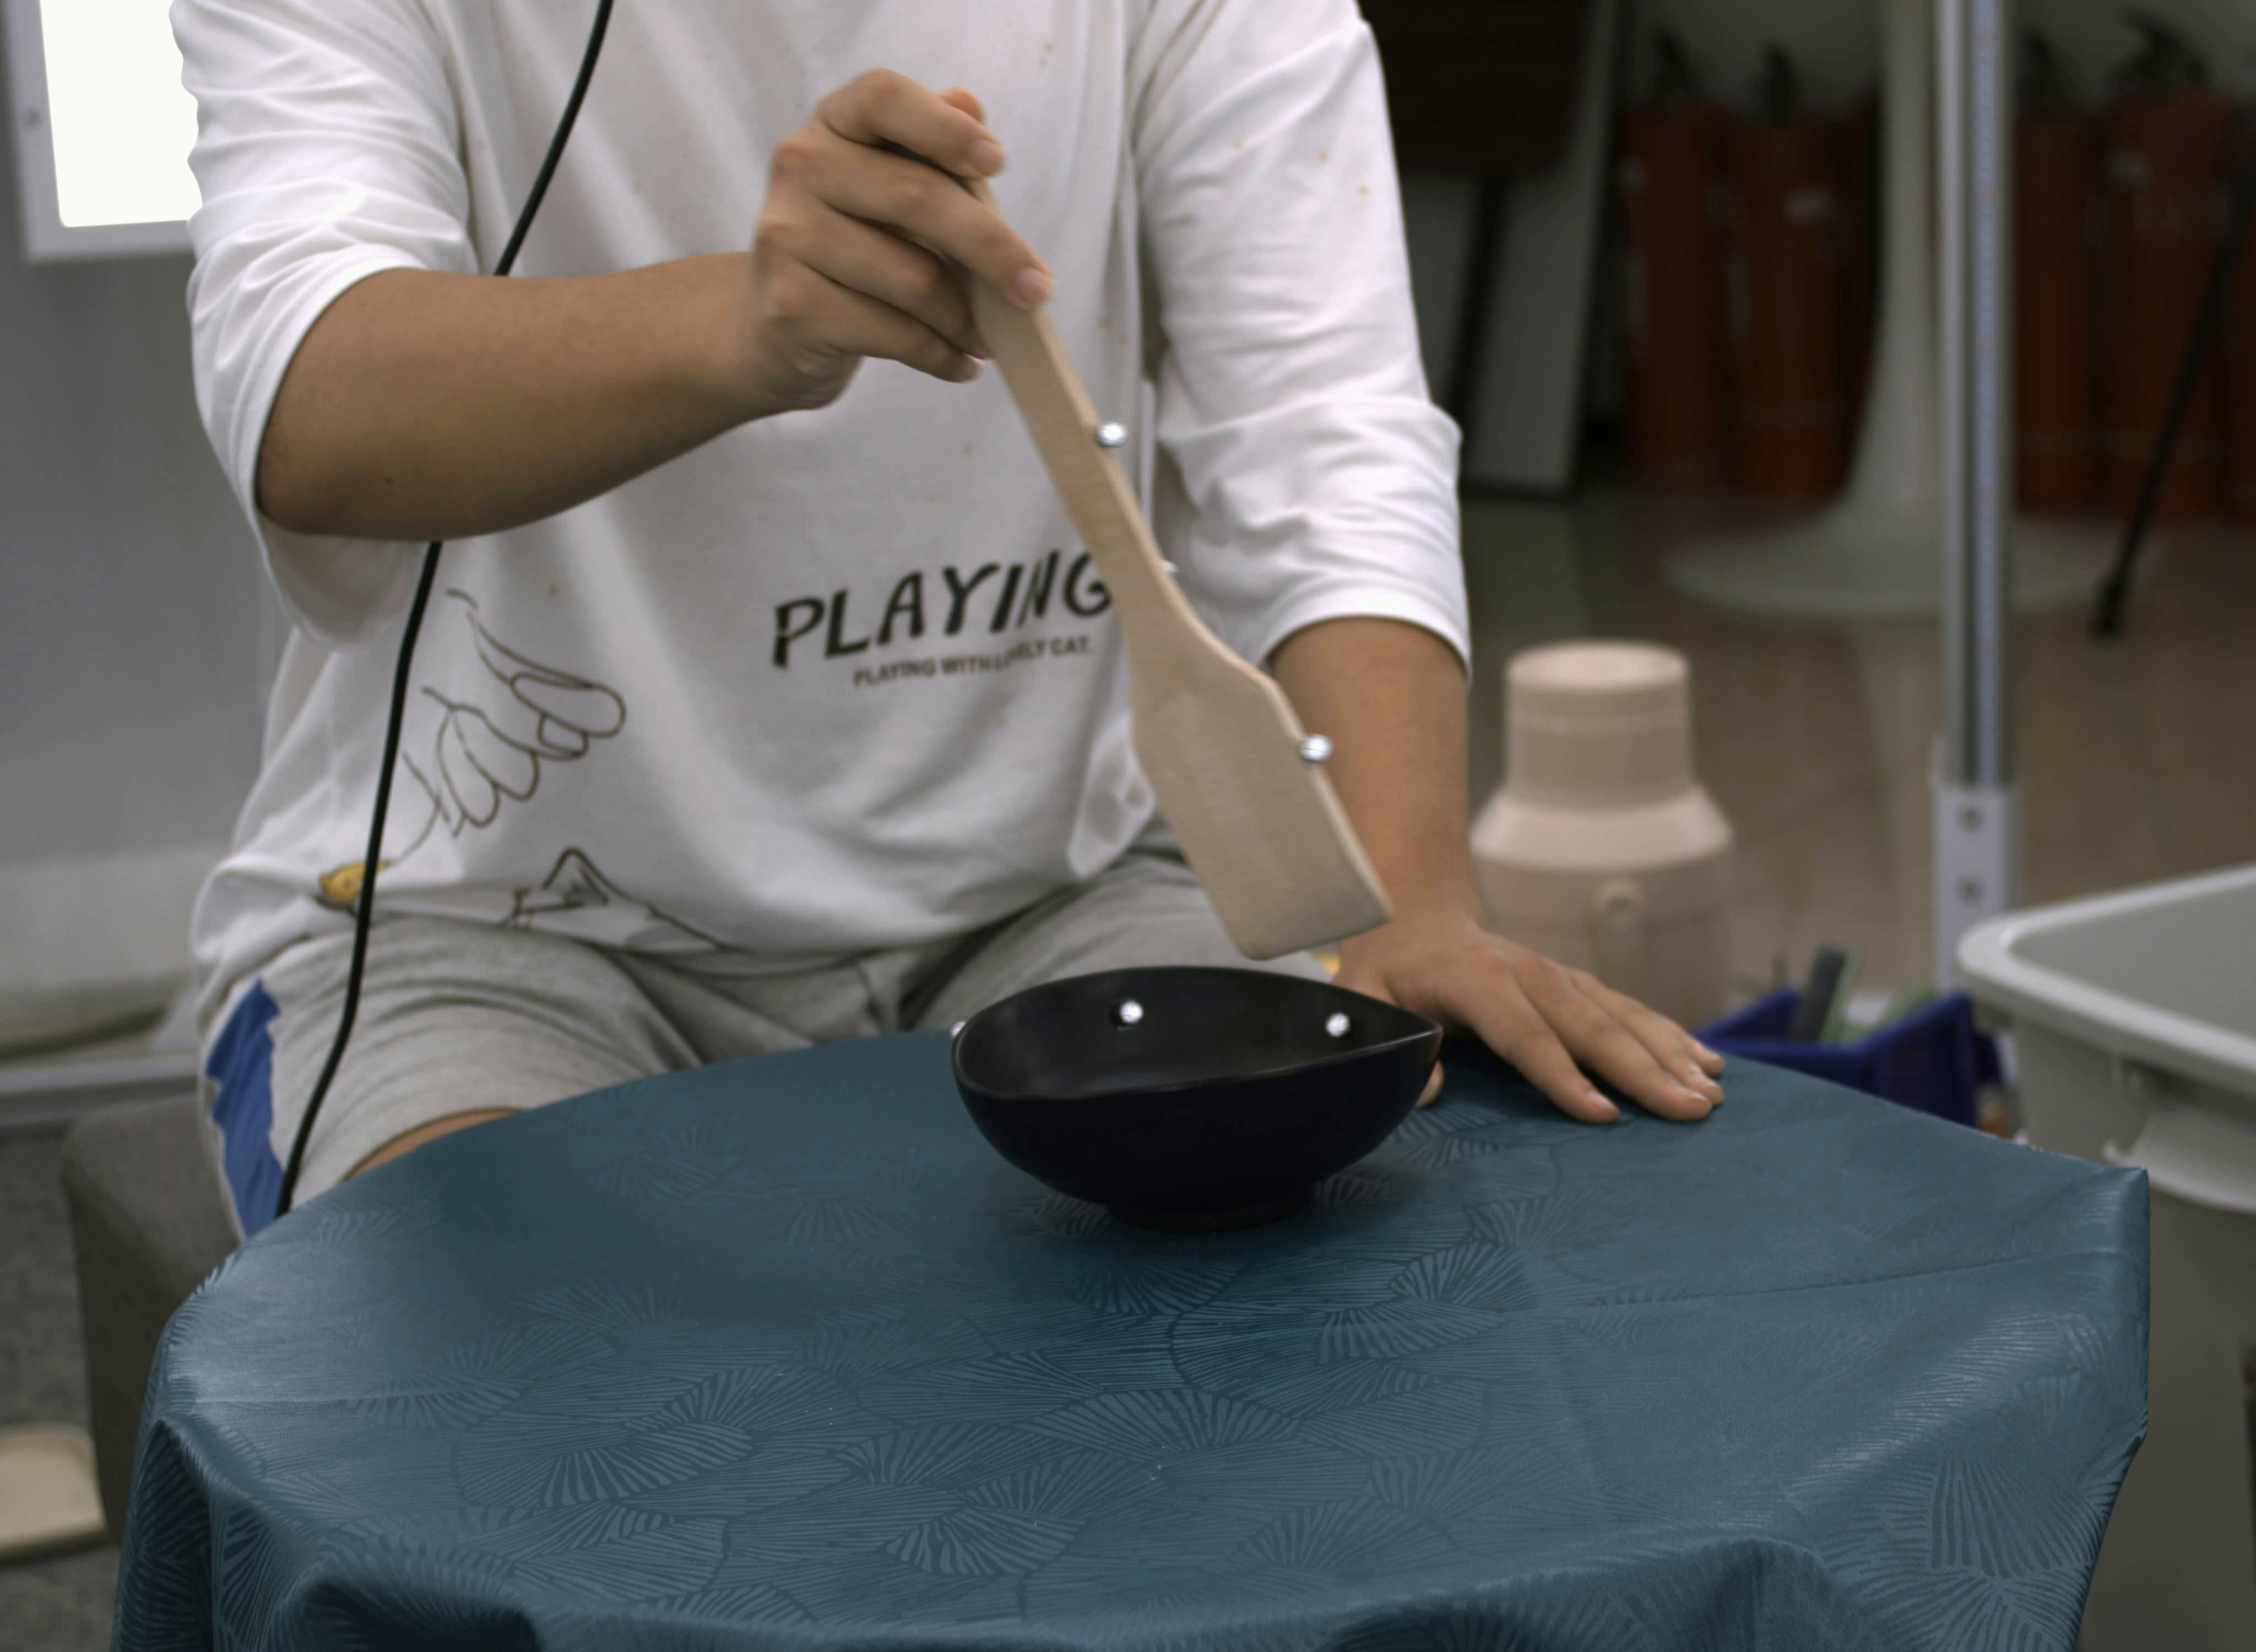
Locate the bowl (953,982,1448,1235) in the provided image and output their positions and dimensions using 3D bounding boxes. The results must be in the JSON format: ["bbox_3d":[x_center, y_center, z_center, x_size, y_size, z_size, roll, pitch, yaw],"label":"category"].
[{"bbox_3d":[0.024,0.093,1.751,0.166,0.067,0.139,-9,13,-29],"label":"bowl"}]

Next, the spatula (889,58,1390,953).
[{"bbox_3d":[-0.003,-0.098,1.649,0.010,0.295,0.073,-29,6,-40],"label":"spatula"}]
